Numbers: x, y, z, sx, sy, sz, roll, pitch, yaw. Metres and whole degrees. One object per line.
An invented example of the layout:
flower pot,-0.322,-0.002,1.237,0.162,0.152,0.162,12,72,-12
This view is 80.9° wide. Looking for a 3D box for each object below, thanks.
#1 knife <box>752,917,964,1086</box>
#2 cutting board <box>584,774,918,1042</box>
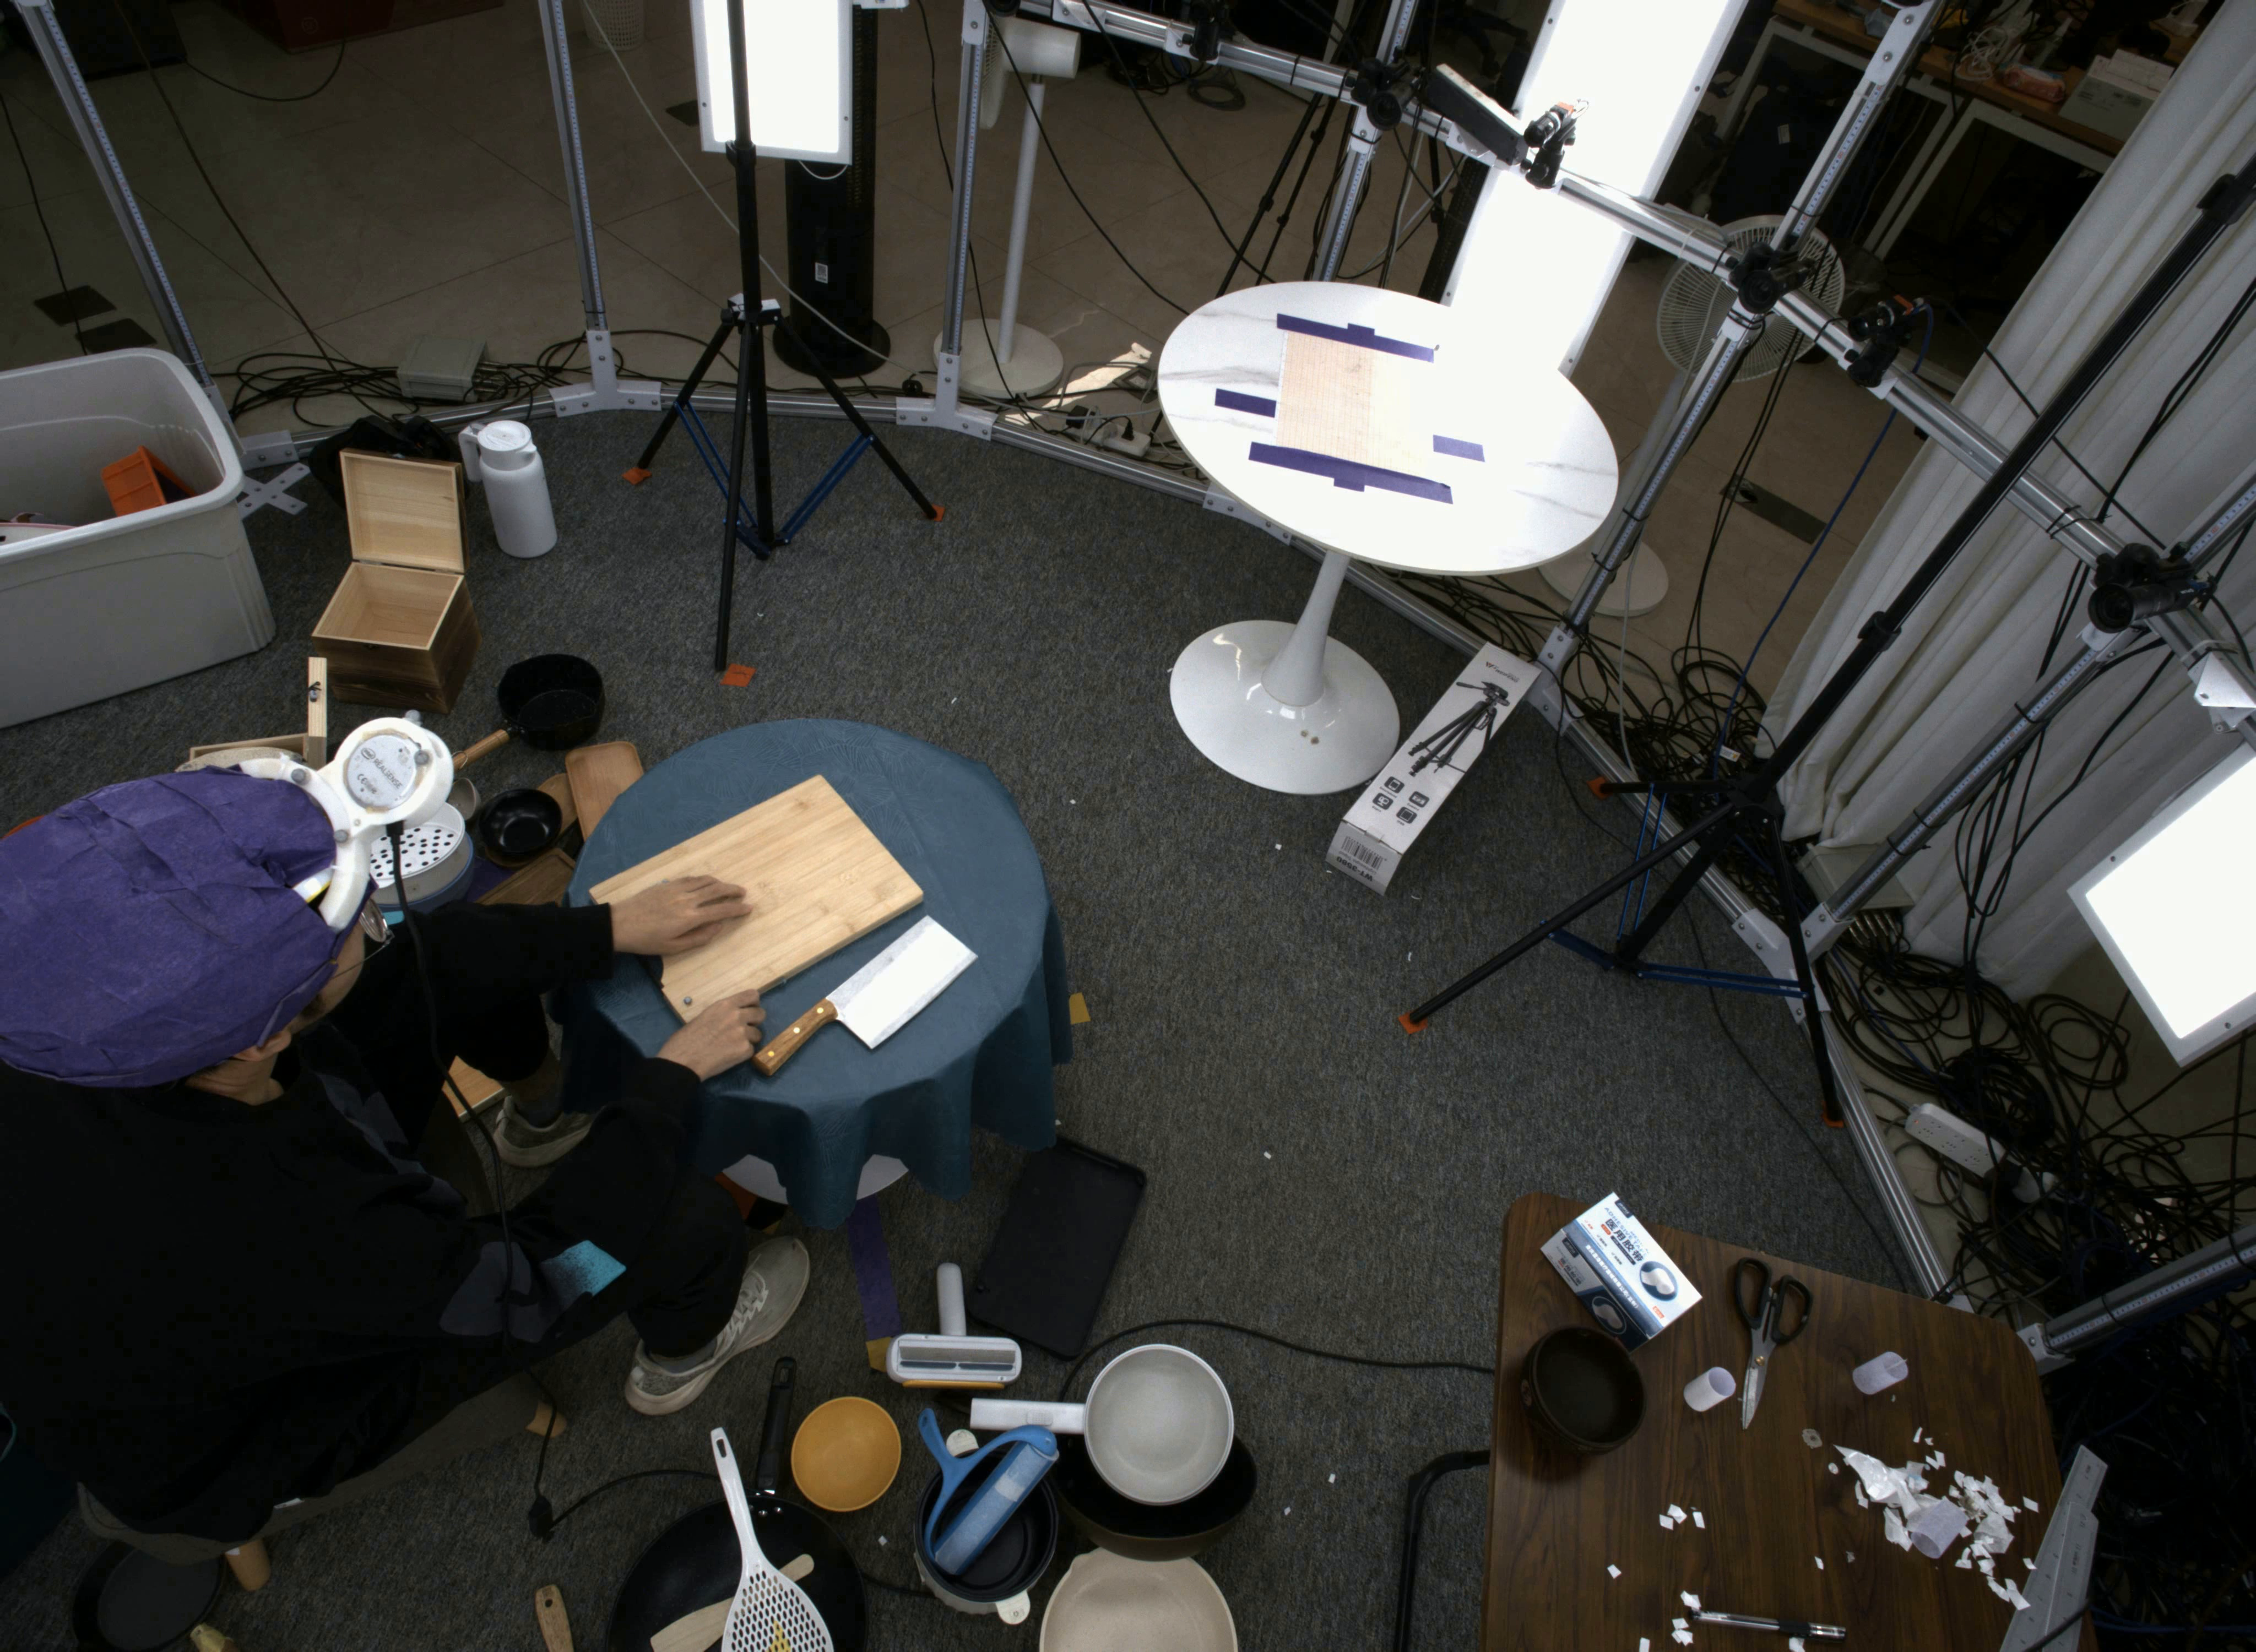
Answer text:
knife,-0.315,0.218,1.570,0.091,0.021,0.306,38,51,12
cutting board,-0.470,0.089,1.624,0.350,0.024,0.245,-33,68,-33
